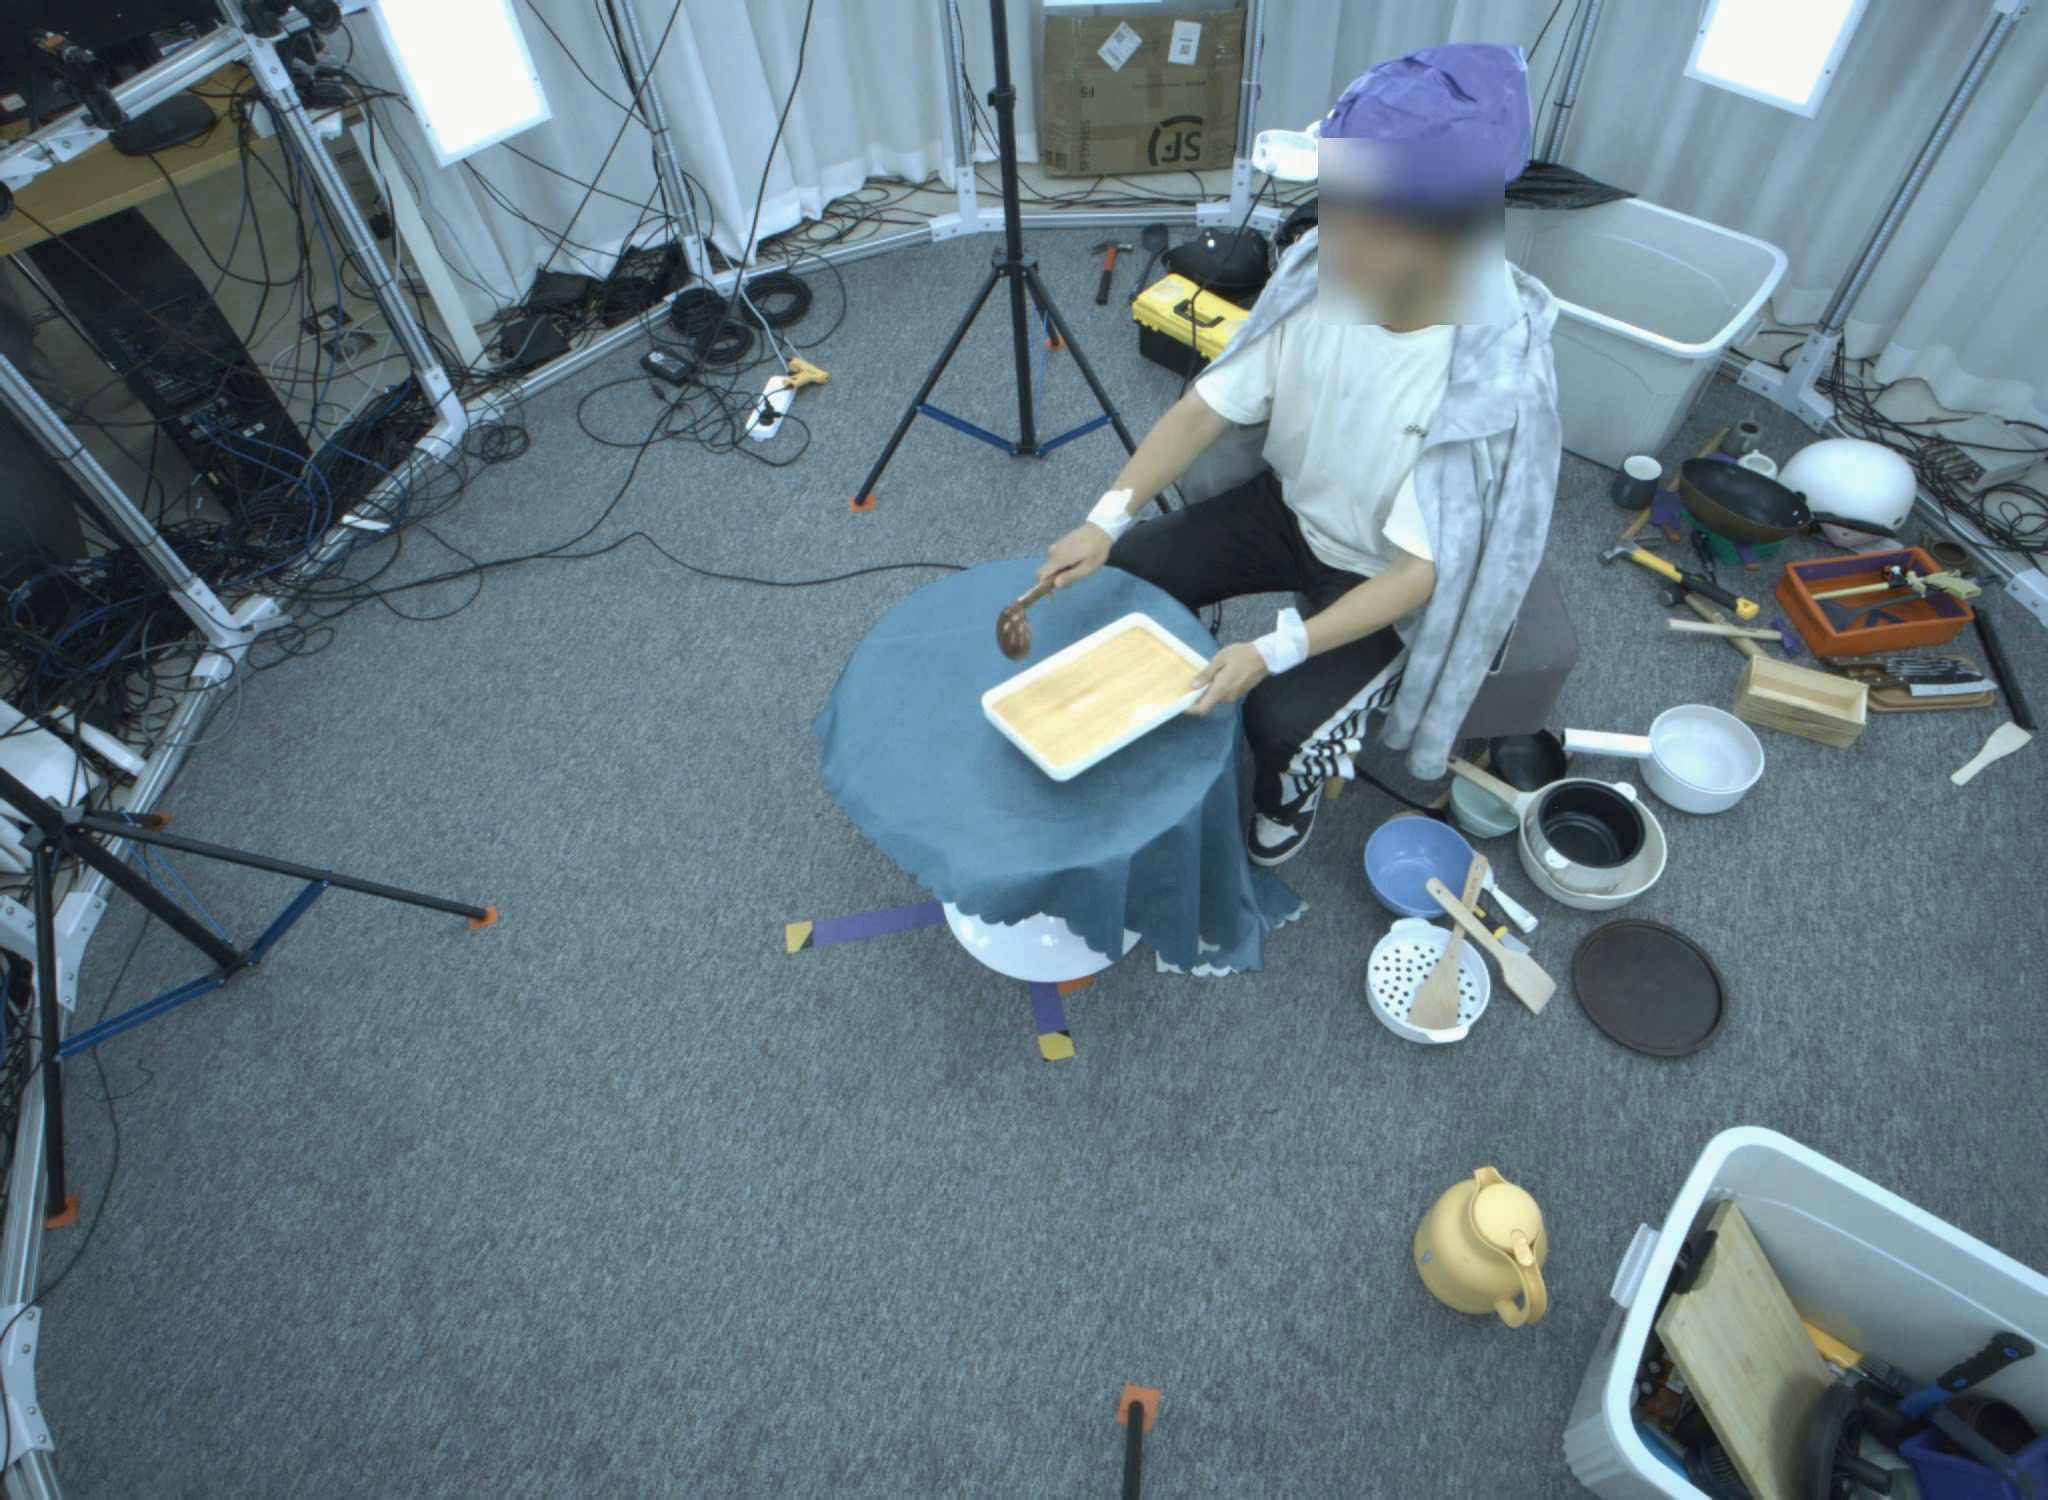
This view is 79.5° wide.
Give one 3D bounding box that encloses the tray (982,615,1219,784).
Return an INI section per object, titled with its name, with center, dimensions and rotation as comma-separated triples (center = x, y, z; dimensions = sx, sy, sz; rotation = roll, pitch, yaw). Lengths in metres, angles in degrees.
[tray]
center = 0.109, -0.078, 1.753
dimensions = 0.303, 0.028, 0.187
rotation = -30, 52, -23

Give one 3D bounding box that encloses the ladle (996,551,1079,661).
[ladle]
center = 0.038, -0.218, 1.791
dimensions = 0.076, 0.082, 0.276
rotation = 32, 43, 12
